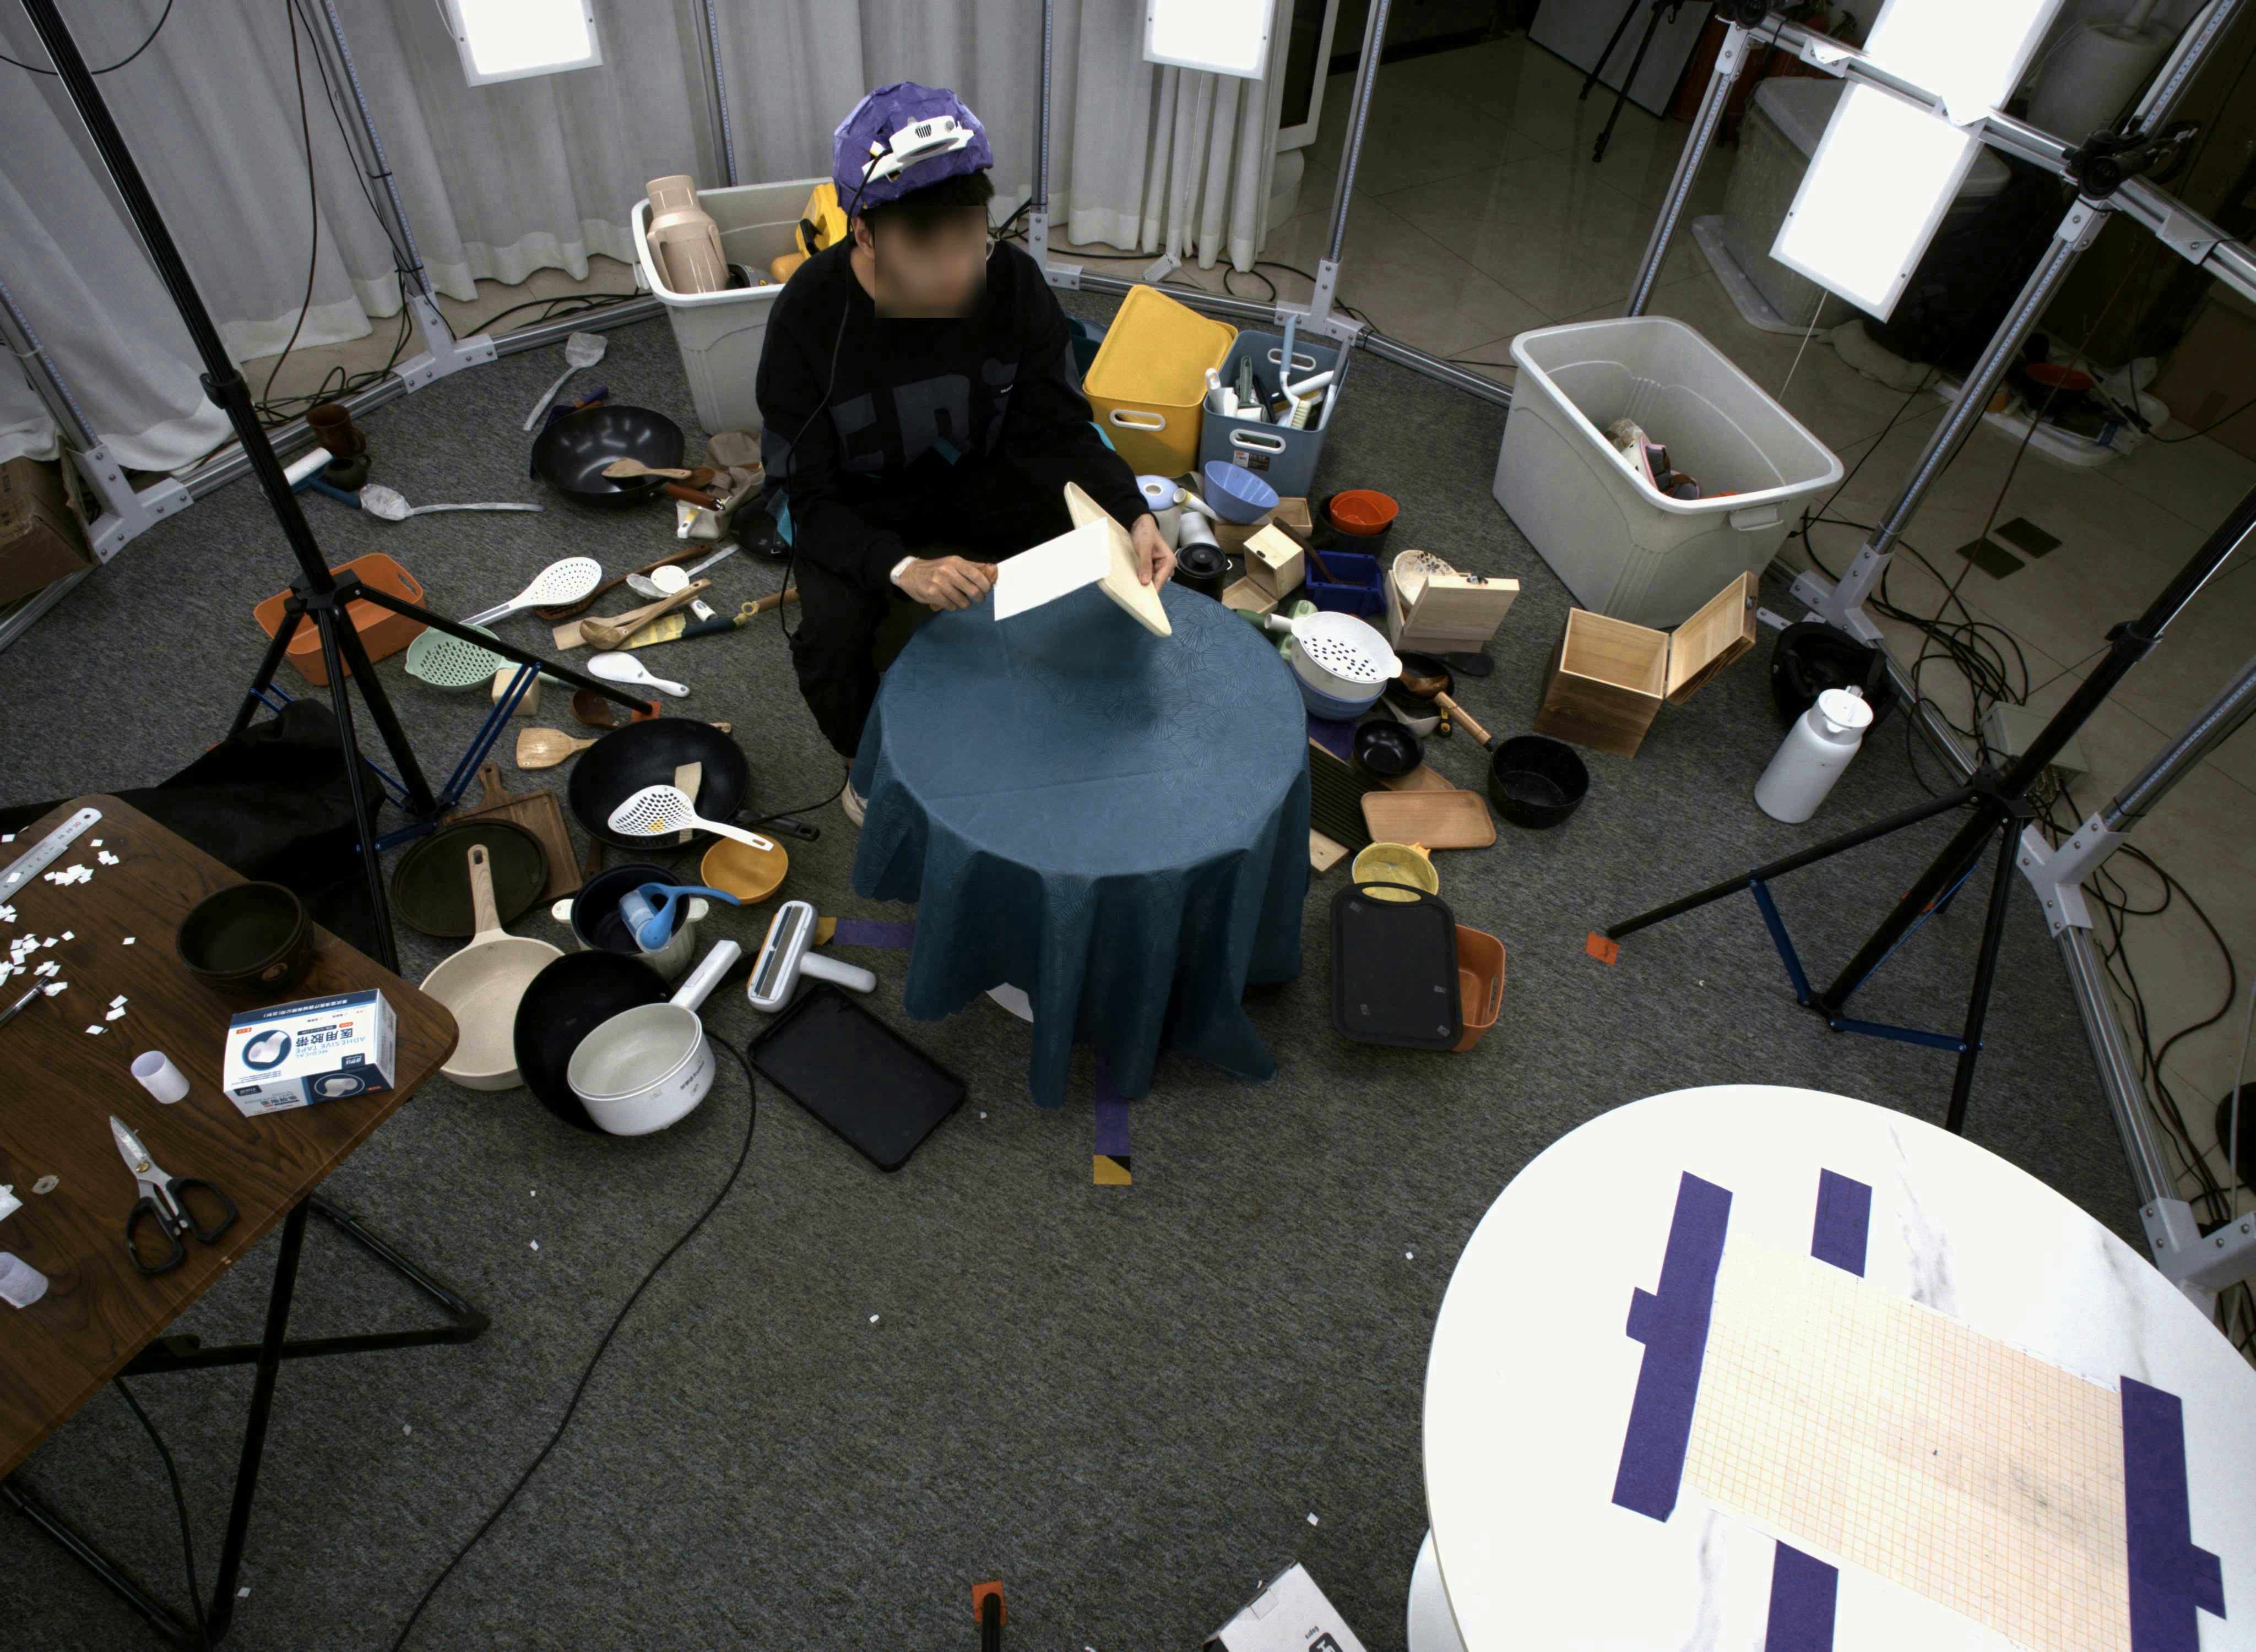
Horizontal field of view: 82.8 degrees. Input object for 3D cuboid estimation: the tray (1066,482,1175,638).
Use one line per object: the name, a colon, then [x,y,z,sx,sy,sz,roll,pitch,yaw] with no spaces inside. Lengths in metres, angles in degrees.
tray: [-0.013,-0.371,1.800,0.017,0.168,0.246,-36,46,22]

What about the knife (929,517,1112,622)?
knife: [-0.150,-0.330,1.753,0.305,0.020,0.094,-17,65,29]
